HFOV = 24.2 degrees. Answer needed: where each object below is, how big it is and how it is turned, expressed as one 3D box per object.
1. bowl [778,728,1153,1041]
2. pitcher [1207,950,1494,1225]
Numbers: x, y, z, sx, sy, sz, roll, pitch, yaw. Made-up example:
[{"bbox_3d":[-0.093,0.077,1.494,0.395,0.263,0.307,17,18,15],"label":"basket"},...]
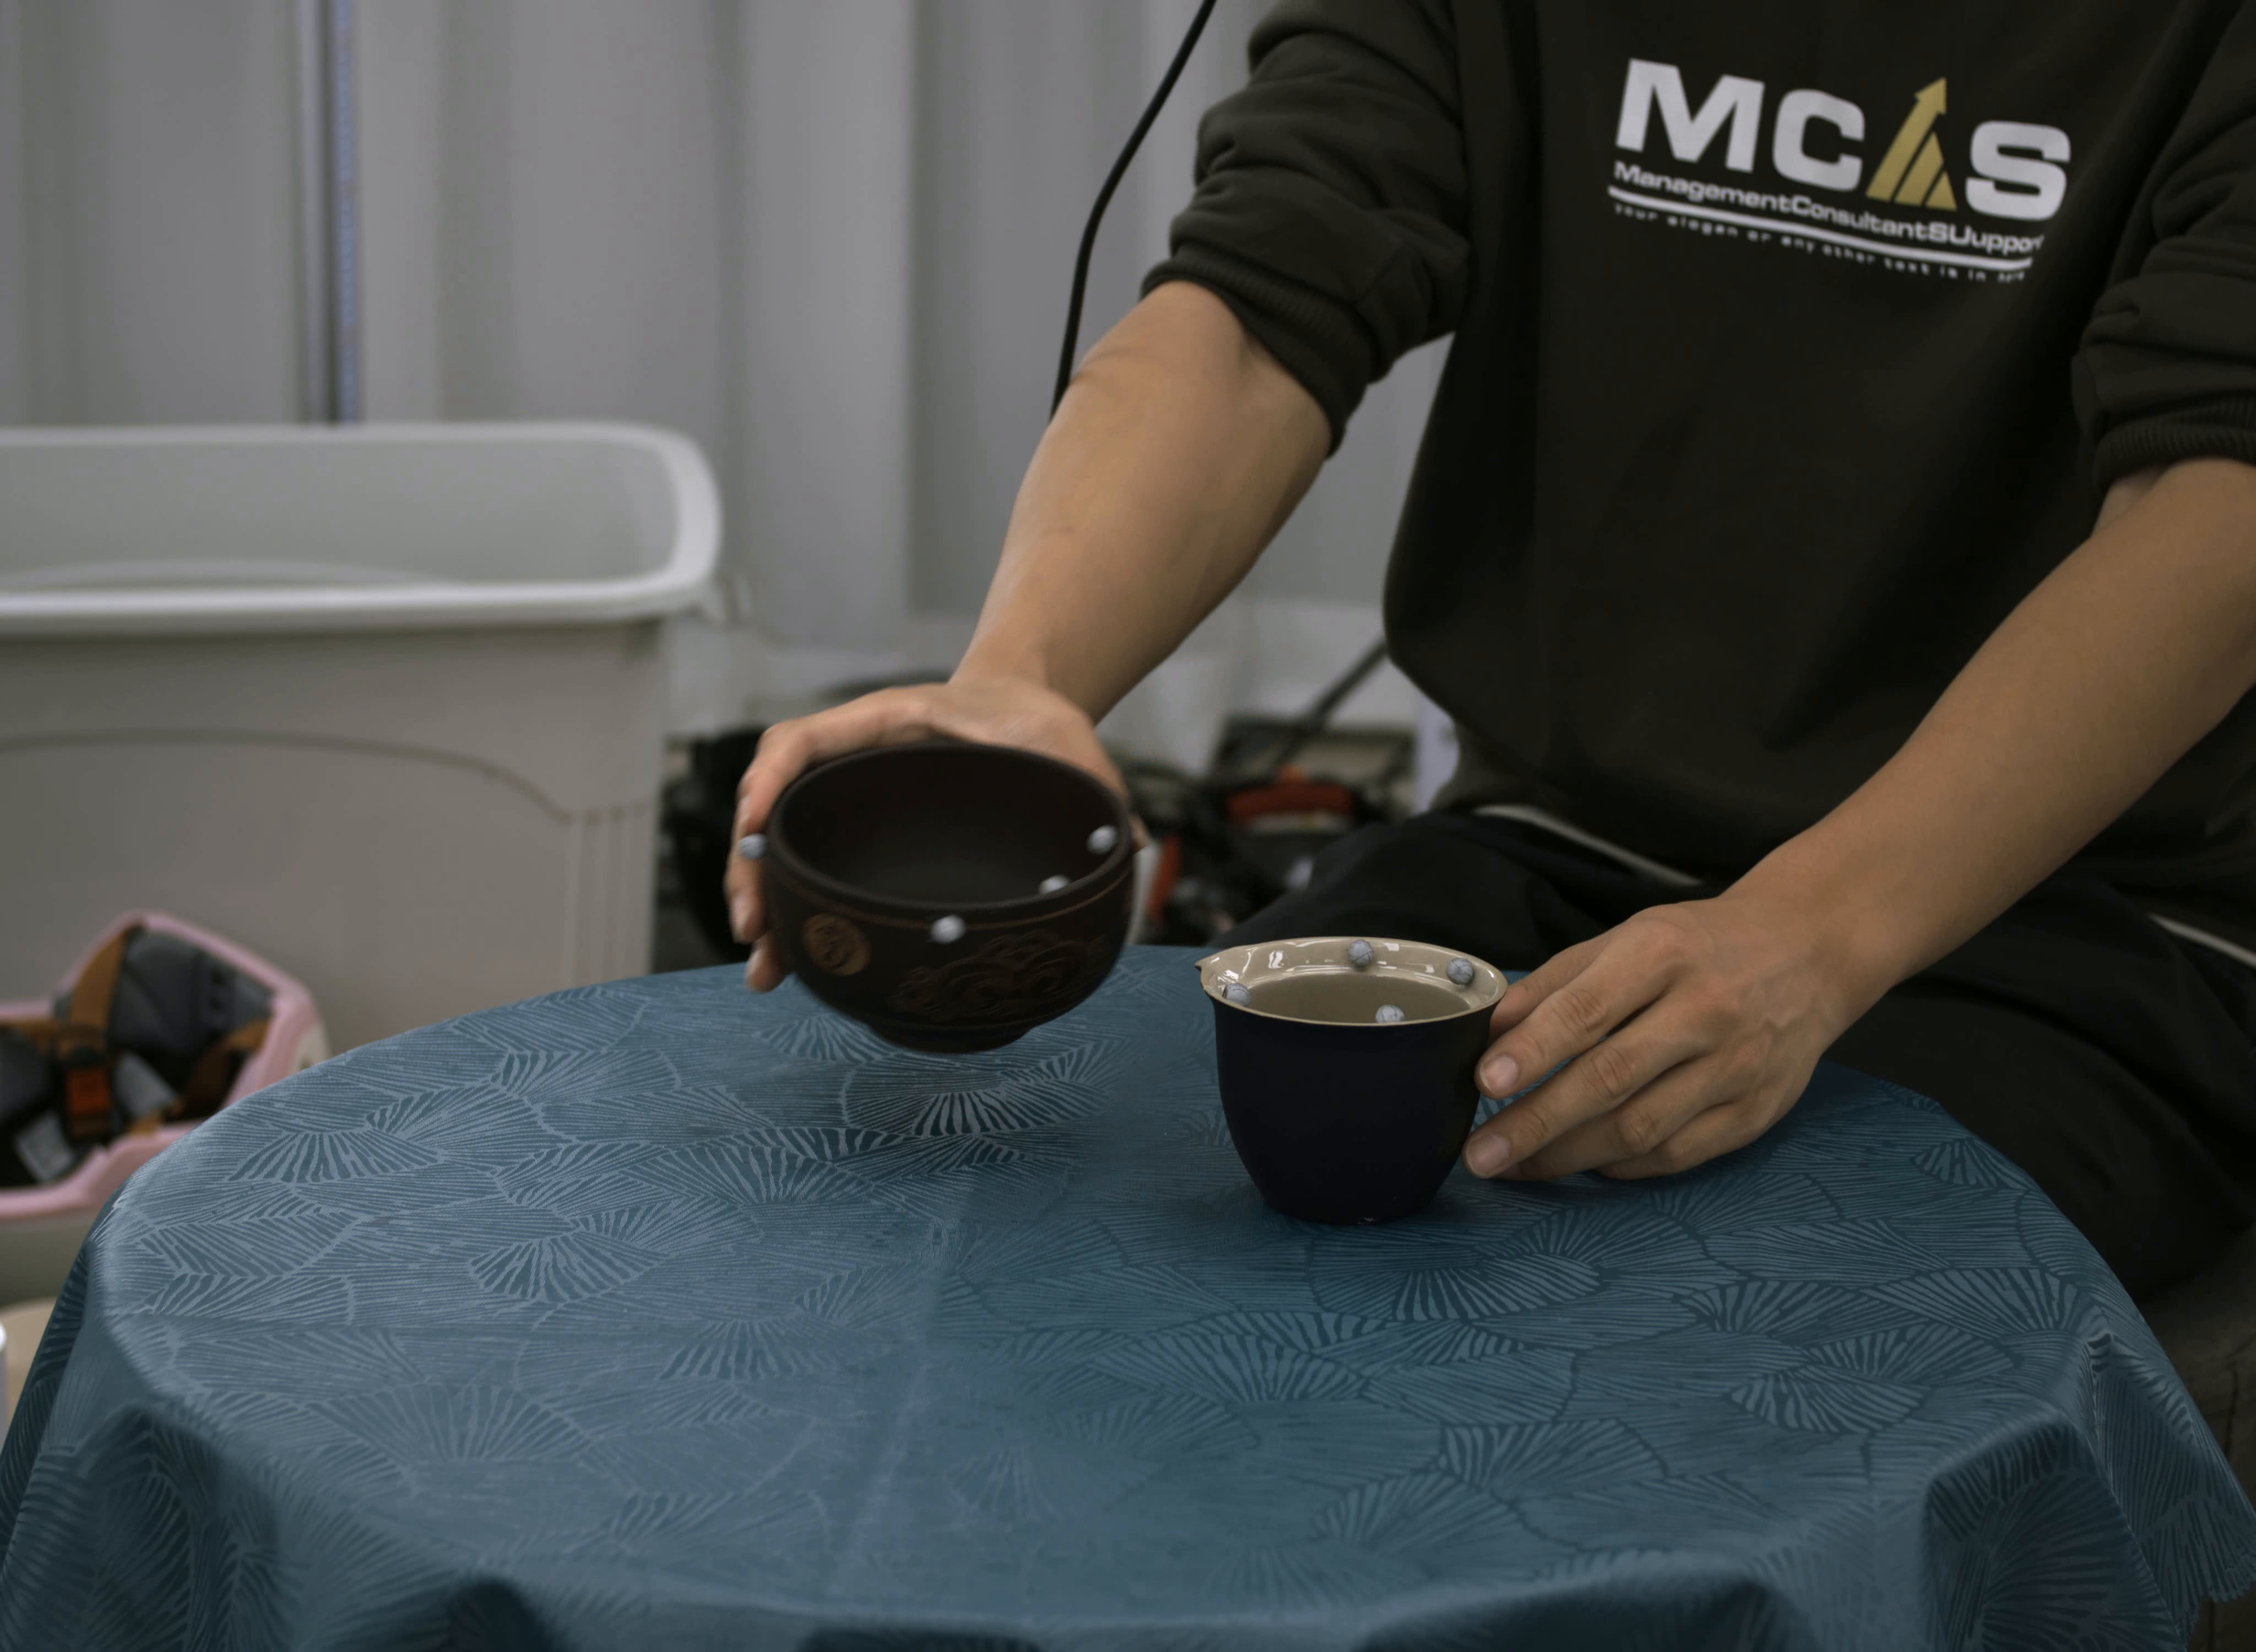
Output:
[{"bbox_3d":[-0.052,0.024,1.661,0.117,0.070,0.117,3,27,-1],"label":"bowl"},{"bbox_3d":[0.065,0.080,1.615,0.095,0.072,0.084,11,21,36],"label":"pitcher"}]
